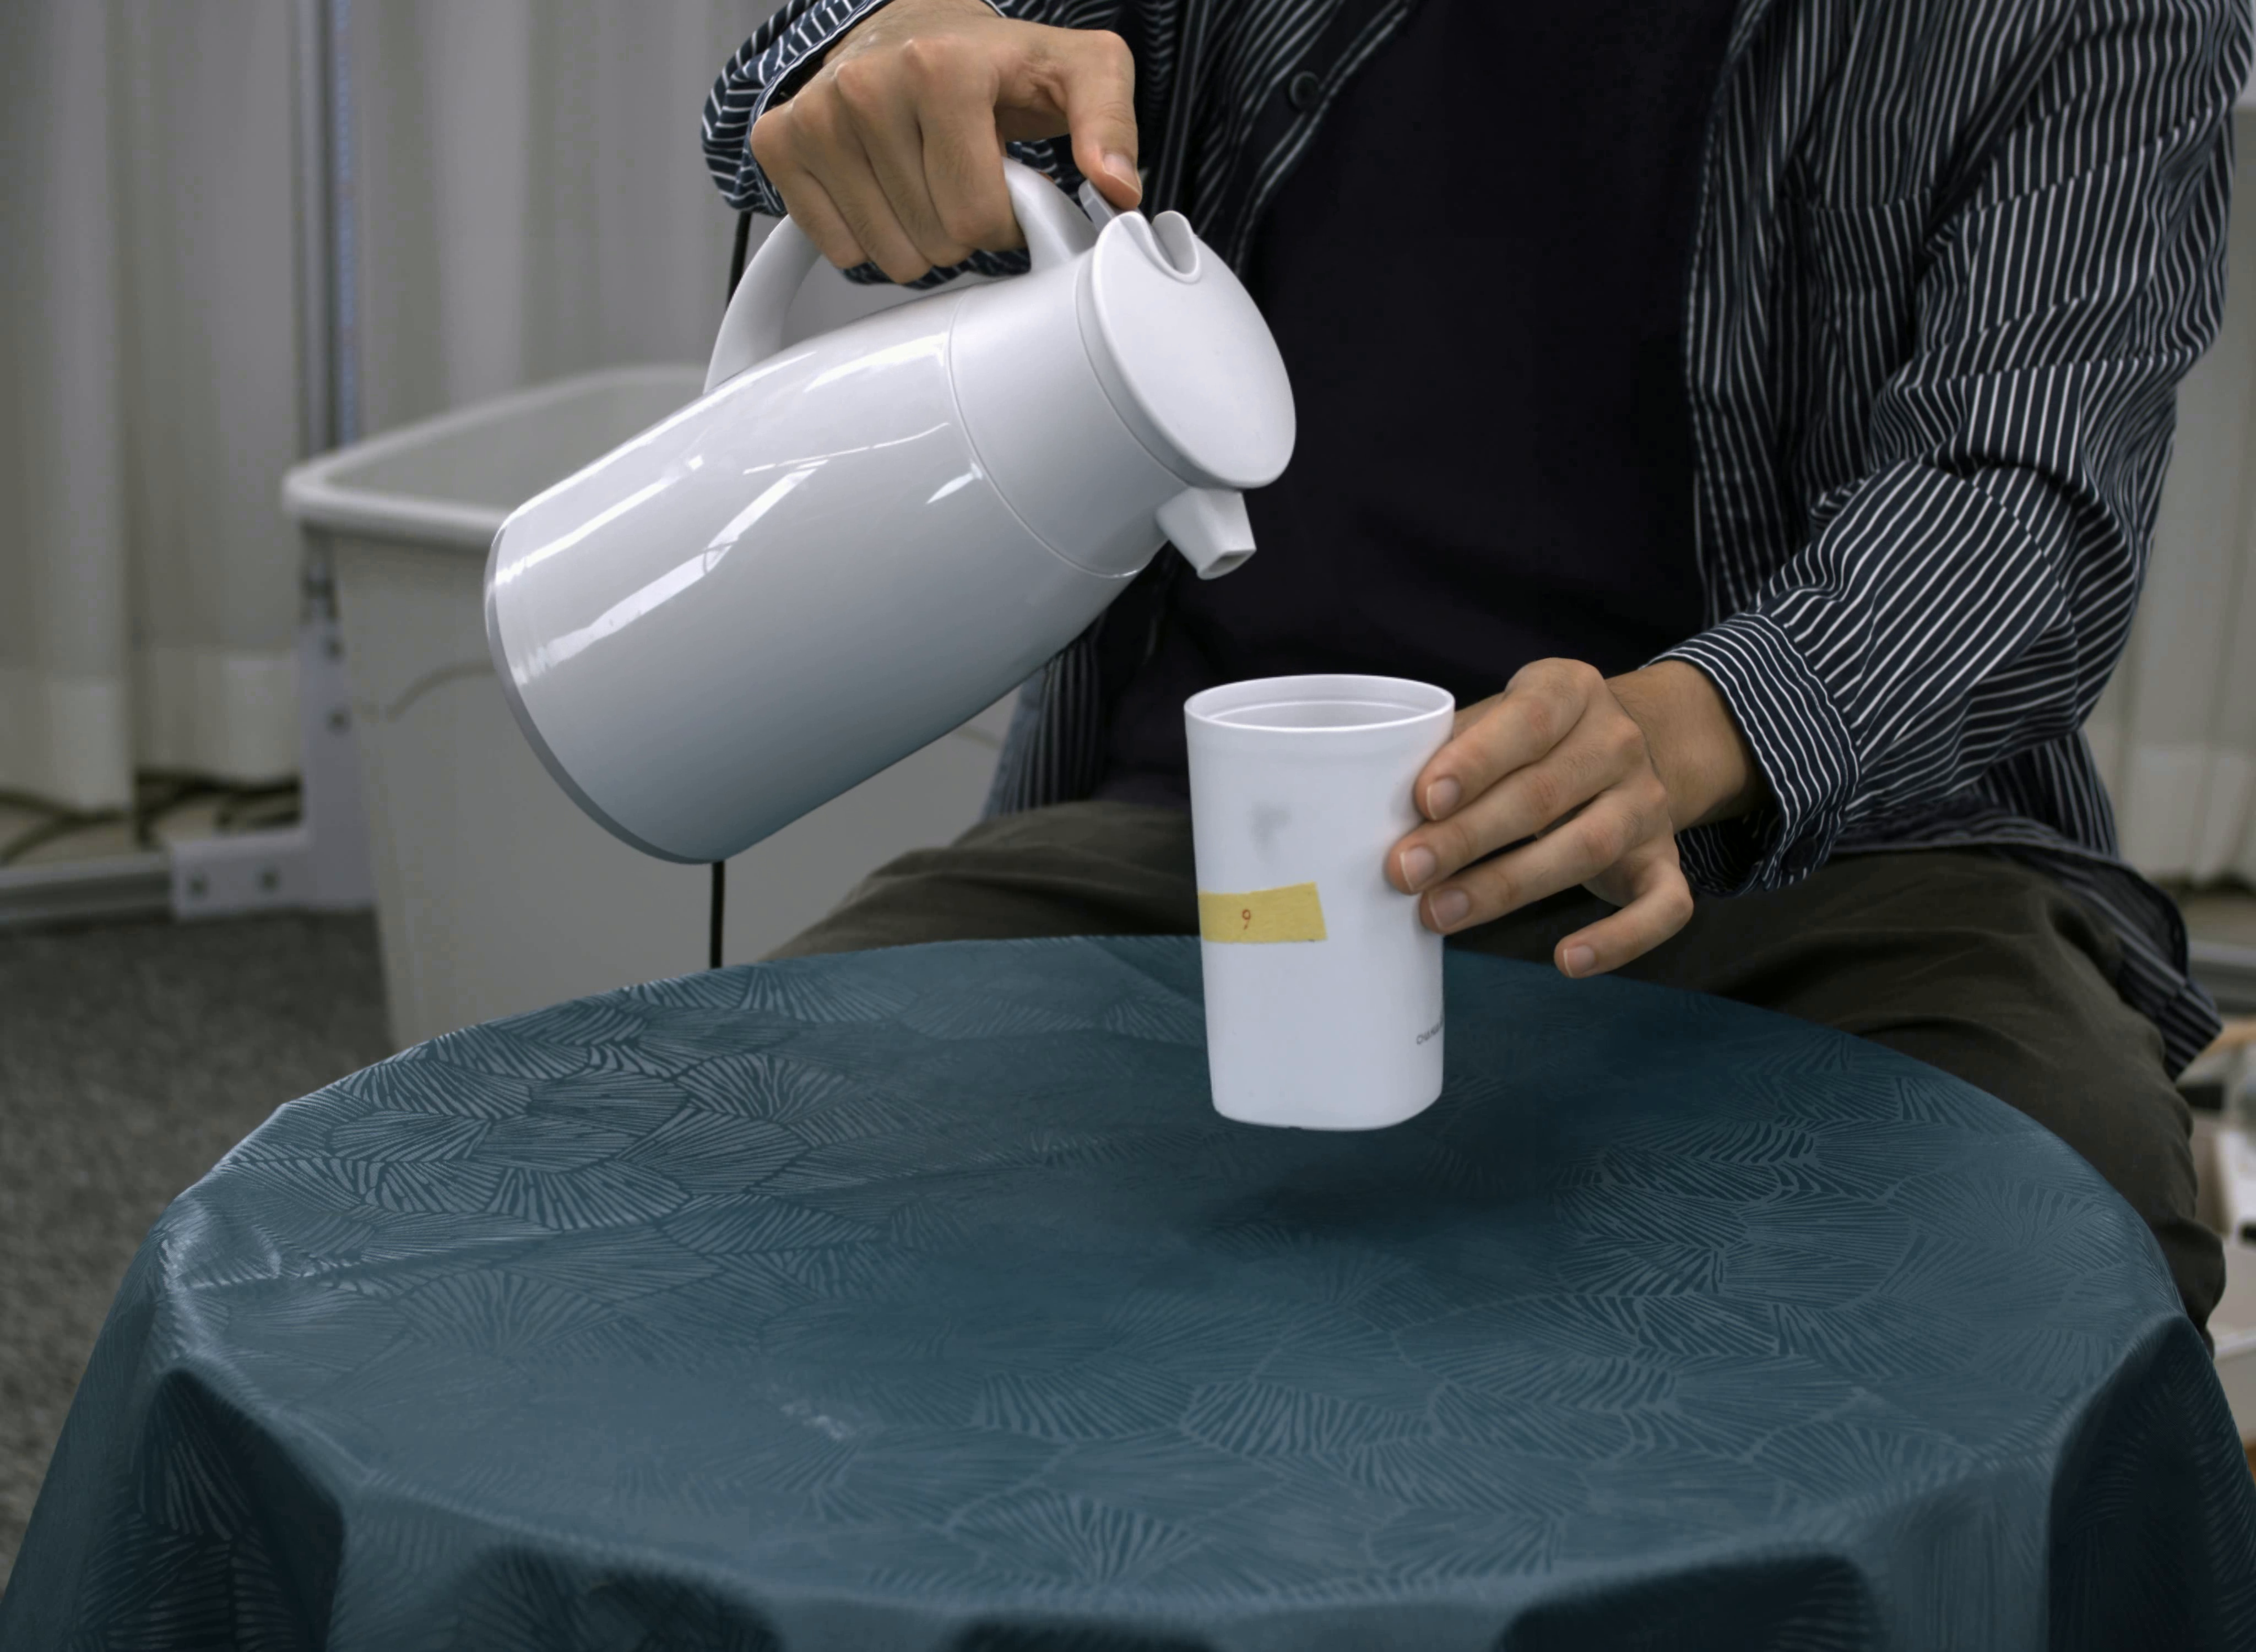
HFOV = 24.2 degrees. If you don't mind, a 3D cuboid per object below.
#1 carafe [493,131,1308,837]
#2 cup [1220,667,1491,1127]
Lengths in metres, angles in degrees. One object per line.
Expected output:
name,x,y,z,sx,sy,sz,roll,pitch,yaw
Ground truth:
carafe,-0.072,-0.118,1.621,0.247,0.168,0.133,-25,-3,33
cup,0.070,0.021,1.581,0.081,0.126,0.081,-1,13,1
